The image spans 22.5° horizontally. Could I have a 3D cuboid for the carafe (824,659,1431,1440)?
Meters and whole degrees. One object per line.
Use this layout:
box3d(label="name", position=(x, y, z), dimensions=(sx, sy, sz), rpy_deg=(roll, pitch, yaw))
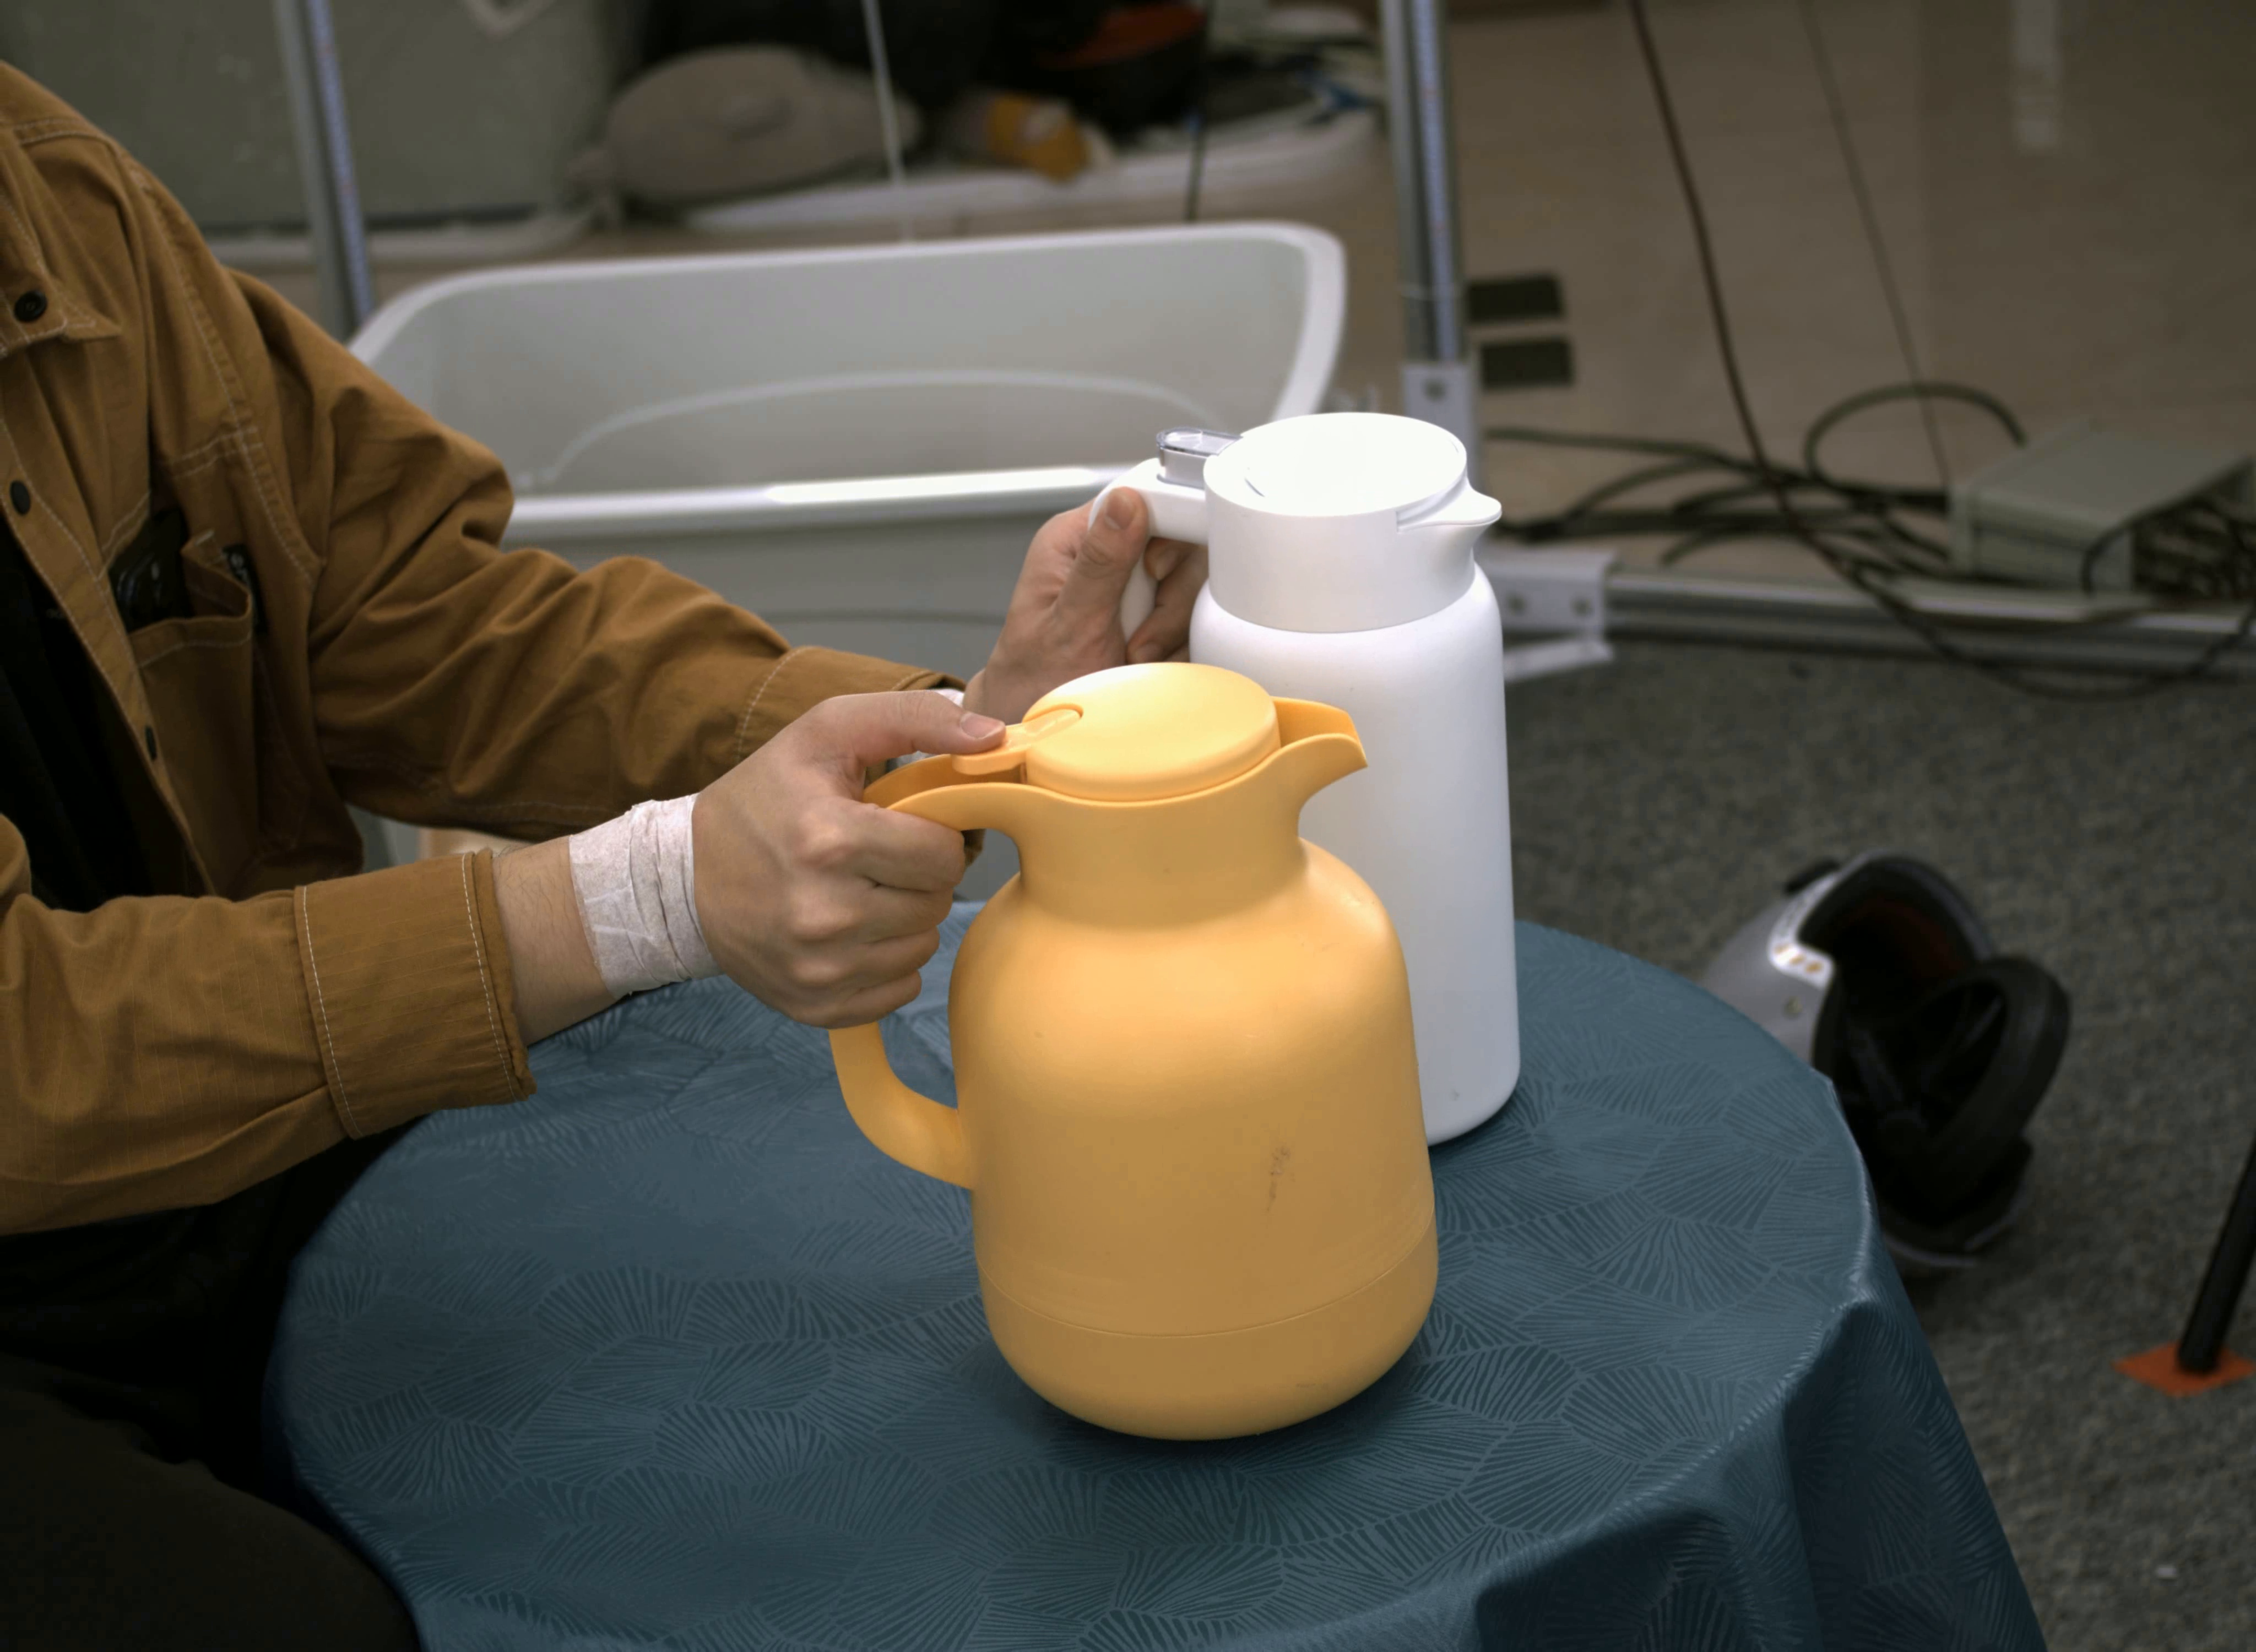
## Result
box3d(label="carafe", position=(-0.001, 0.074, 1.968), dimensions=(0.202, 0.264, 0.161), rpy_deg=(-5, 25, -1))

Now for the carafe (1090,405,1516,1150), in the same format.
box3d(label="carafe", position=(0.069, -0.018, 2.142), dimensions=(0.172, 0.273, 0.122), rpy_deg=(12, 34, 29))
